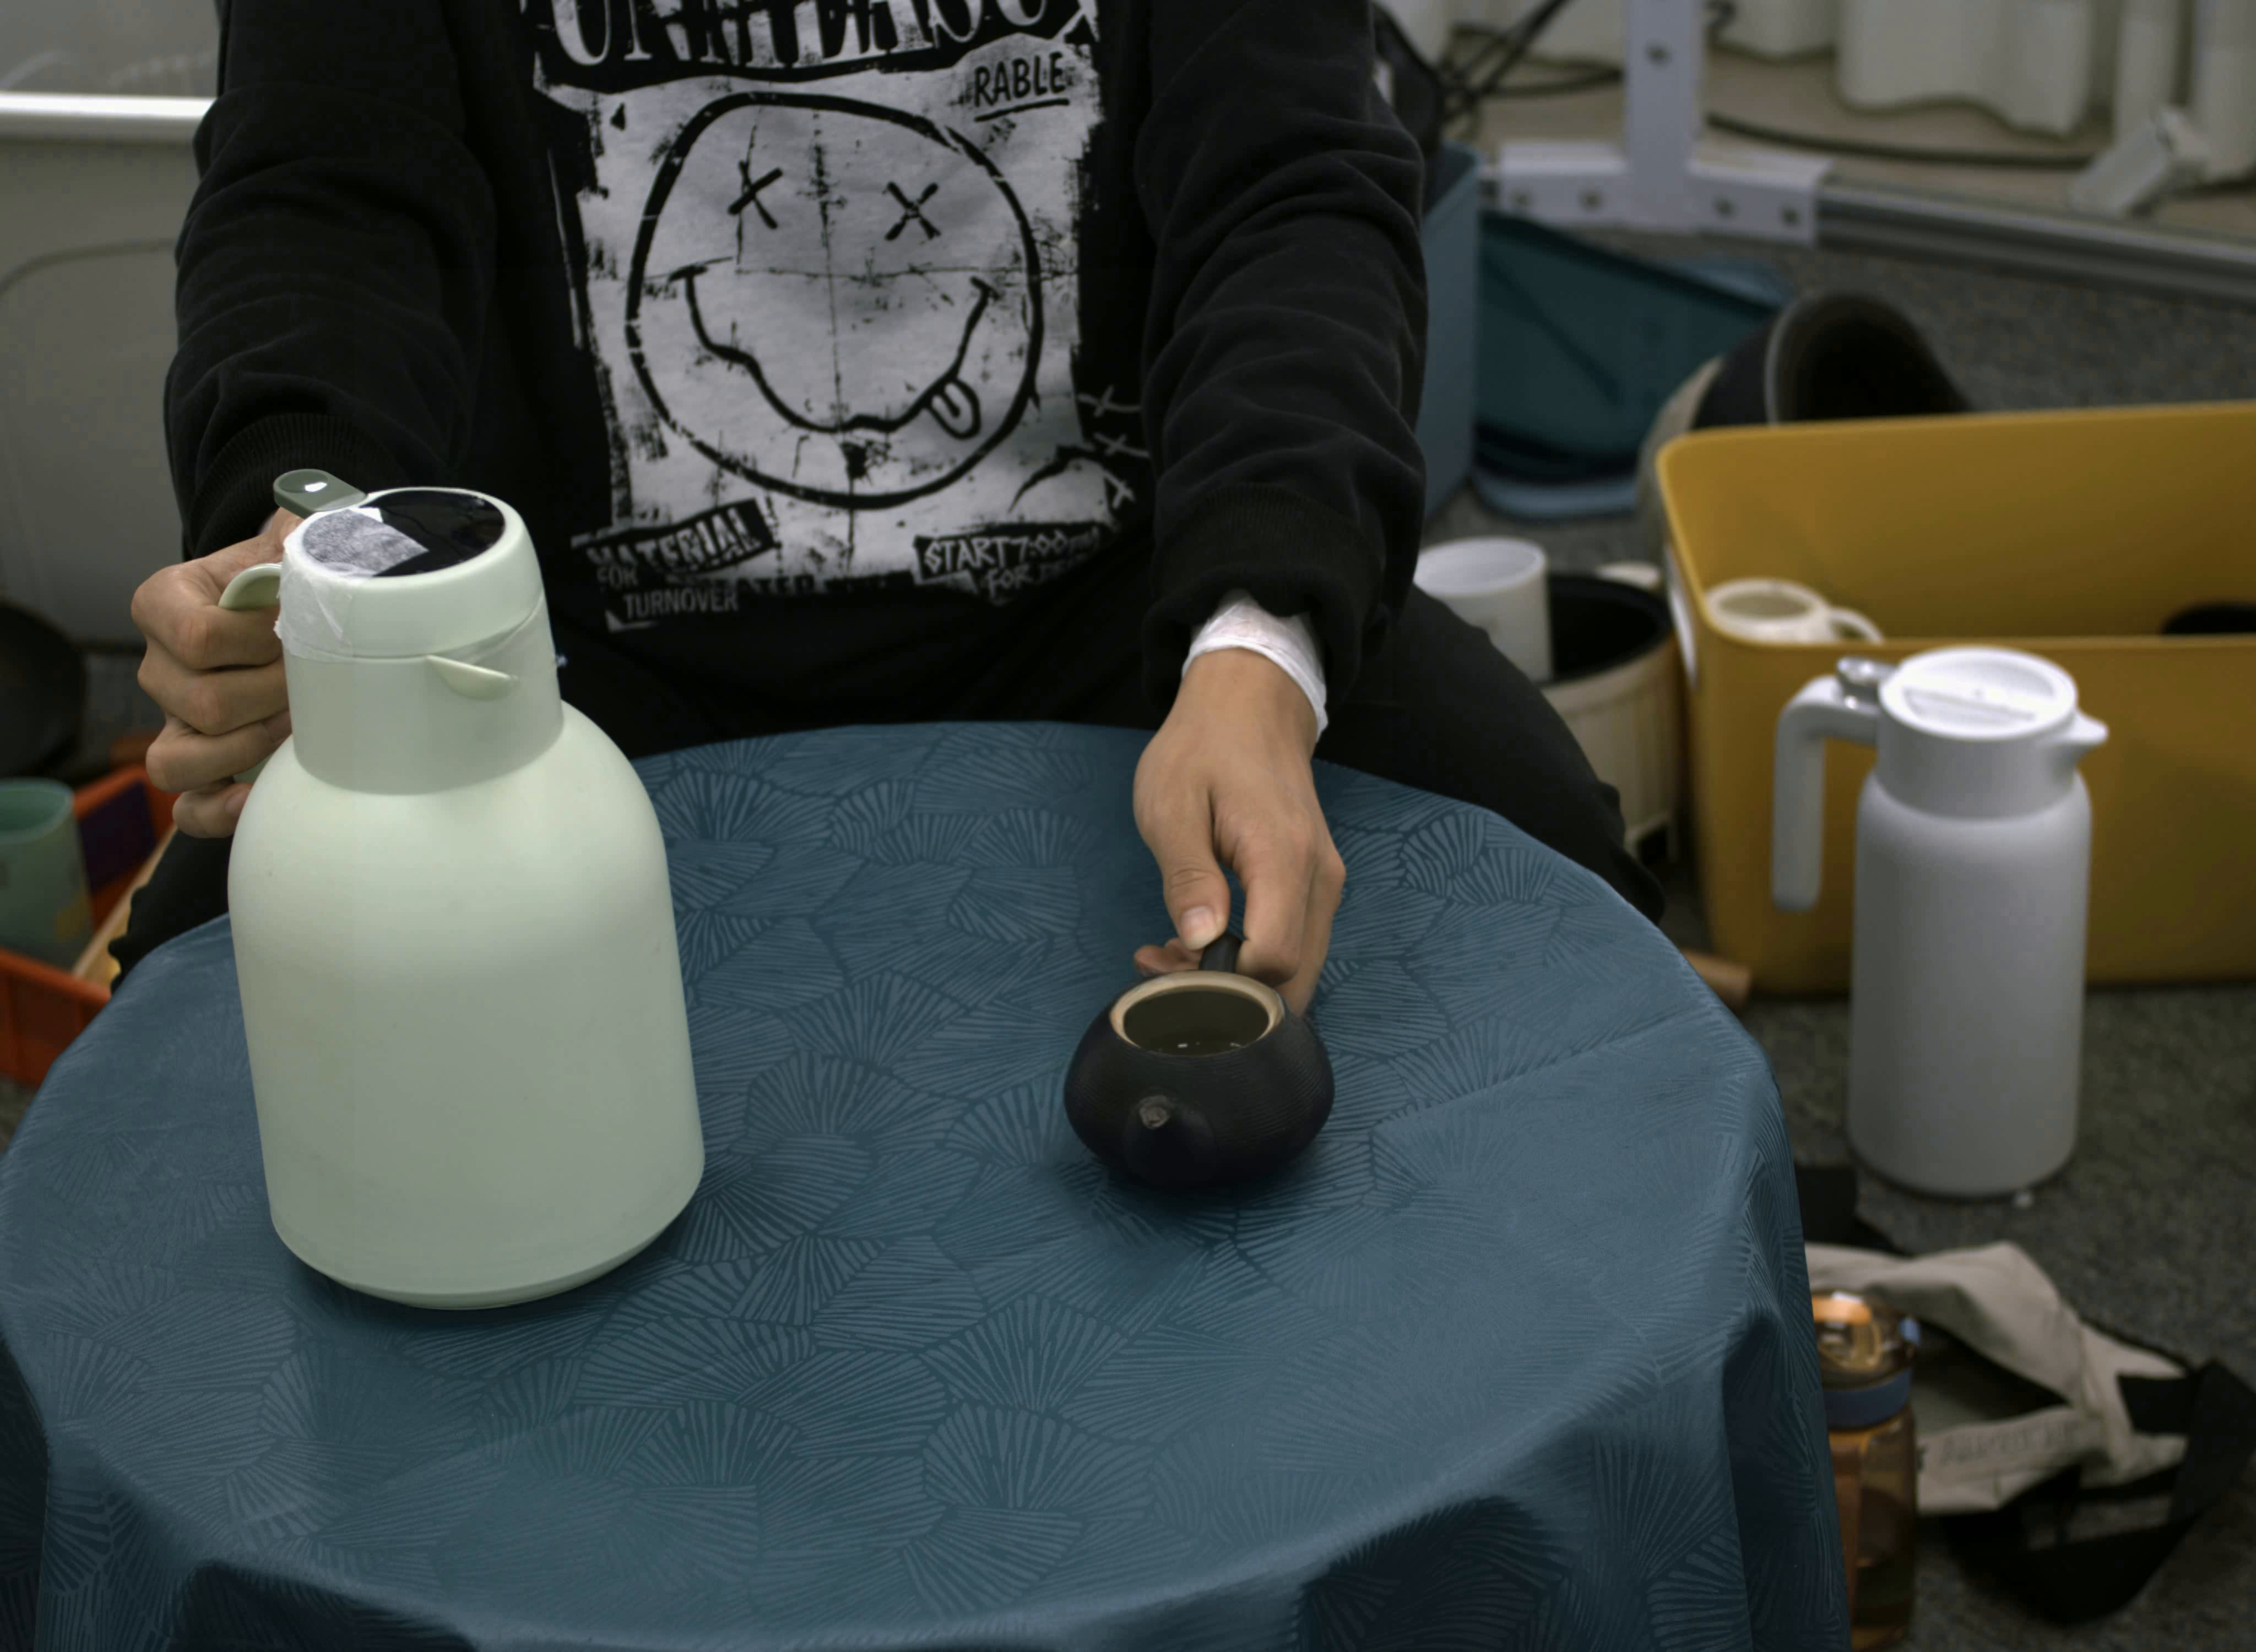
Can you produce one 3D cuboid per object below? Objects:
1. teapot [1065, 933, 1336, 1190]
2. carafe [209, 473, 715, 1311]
[{"bbox_3d":[0.024,0.084,1.870,0.090,0.052,0.135,4,29,11],"label":"teapot"},{"bbox_3d":[-0.227,0.014,1.820,0.146,0.254,0.186,-26,30,-35],"label":"carafe"}]
